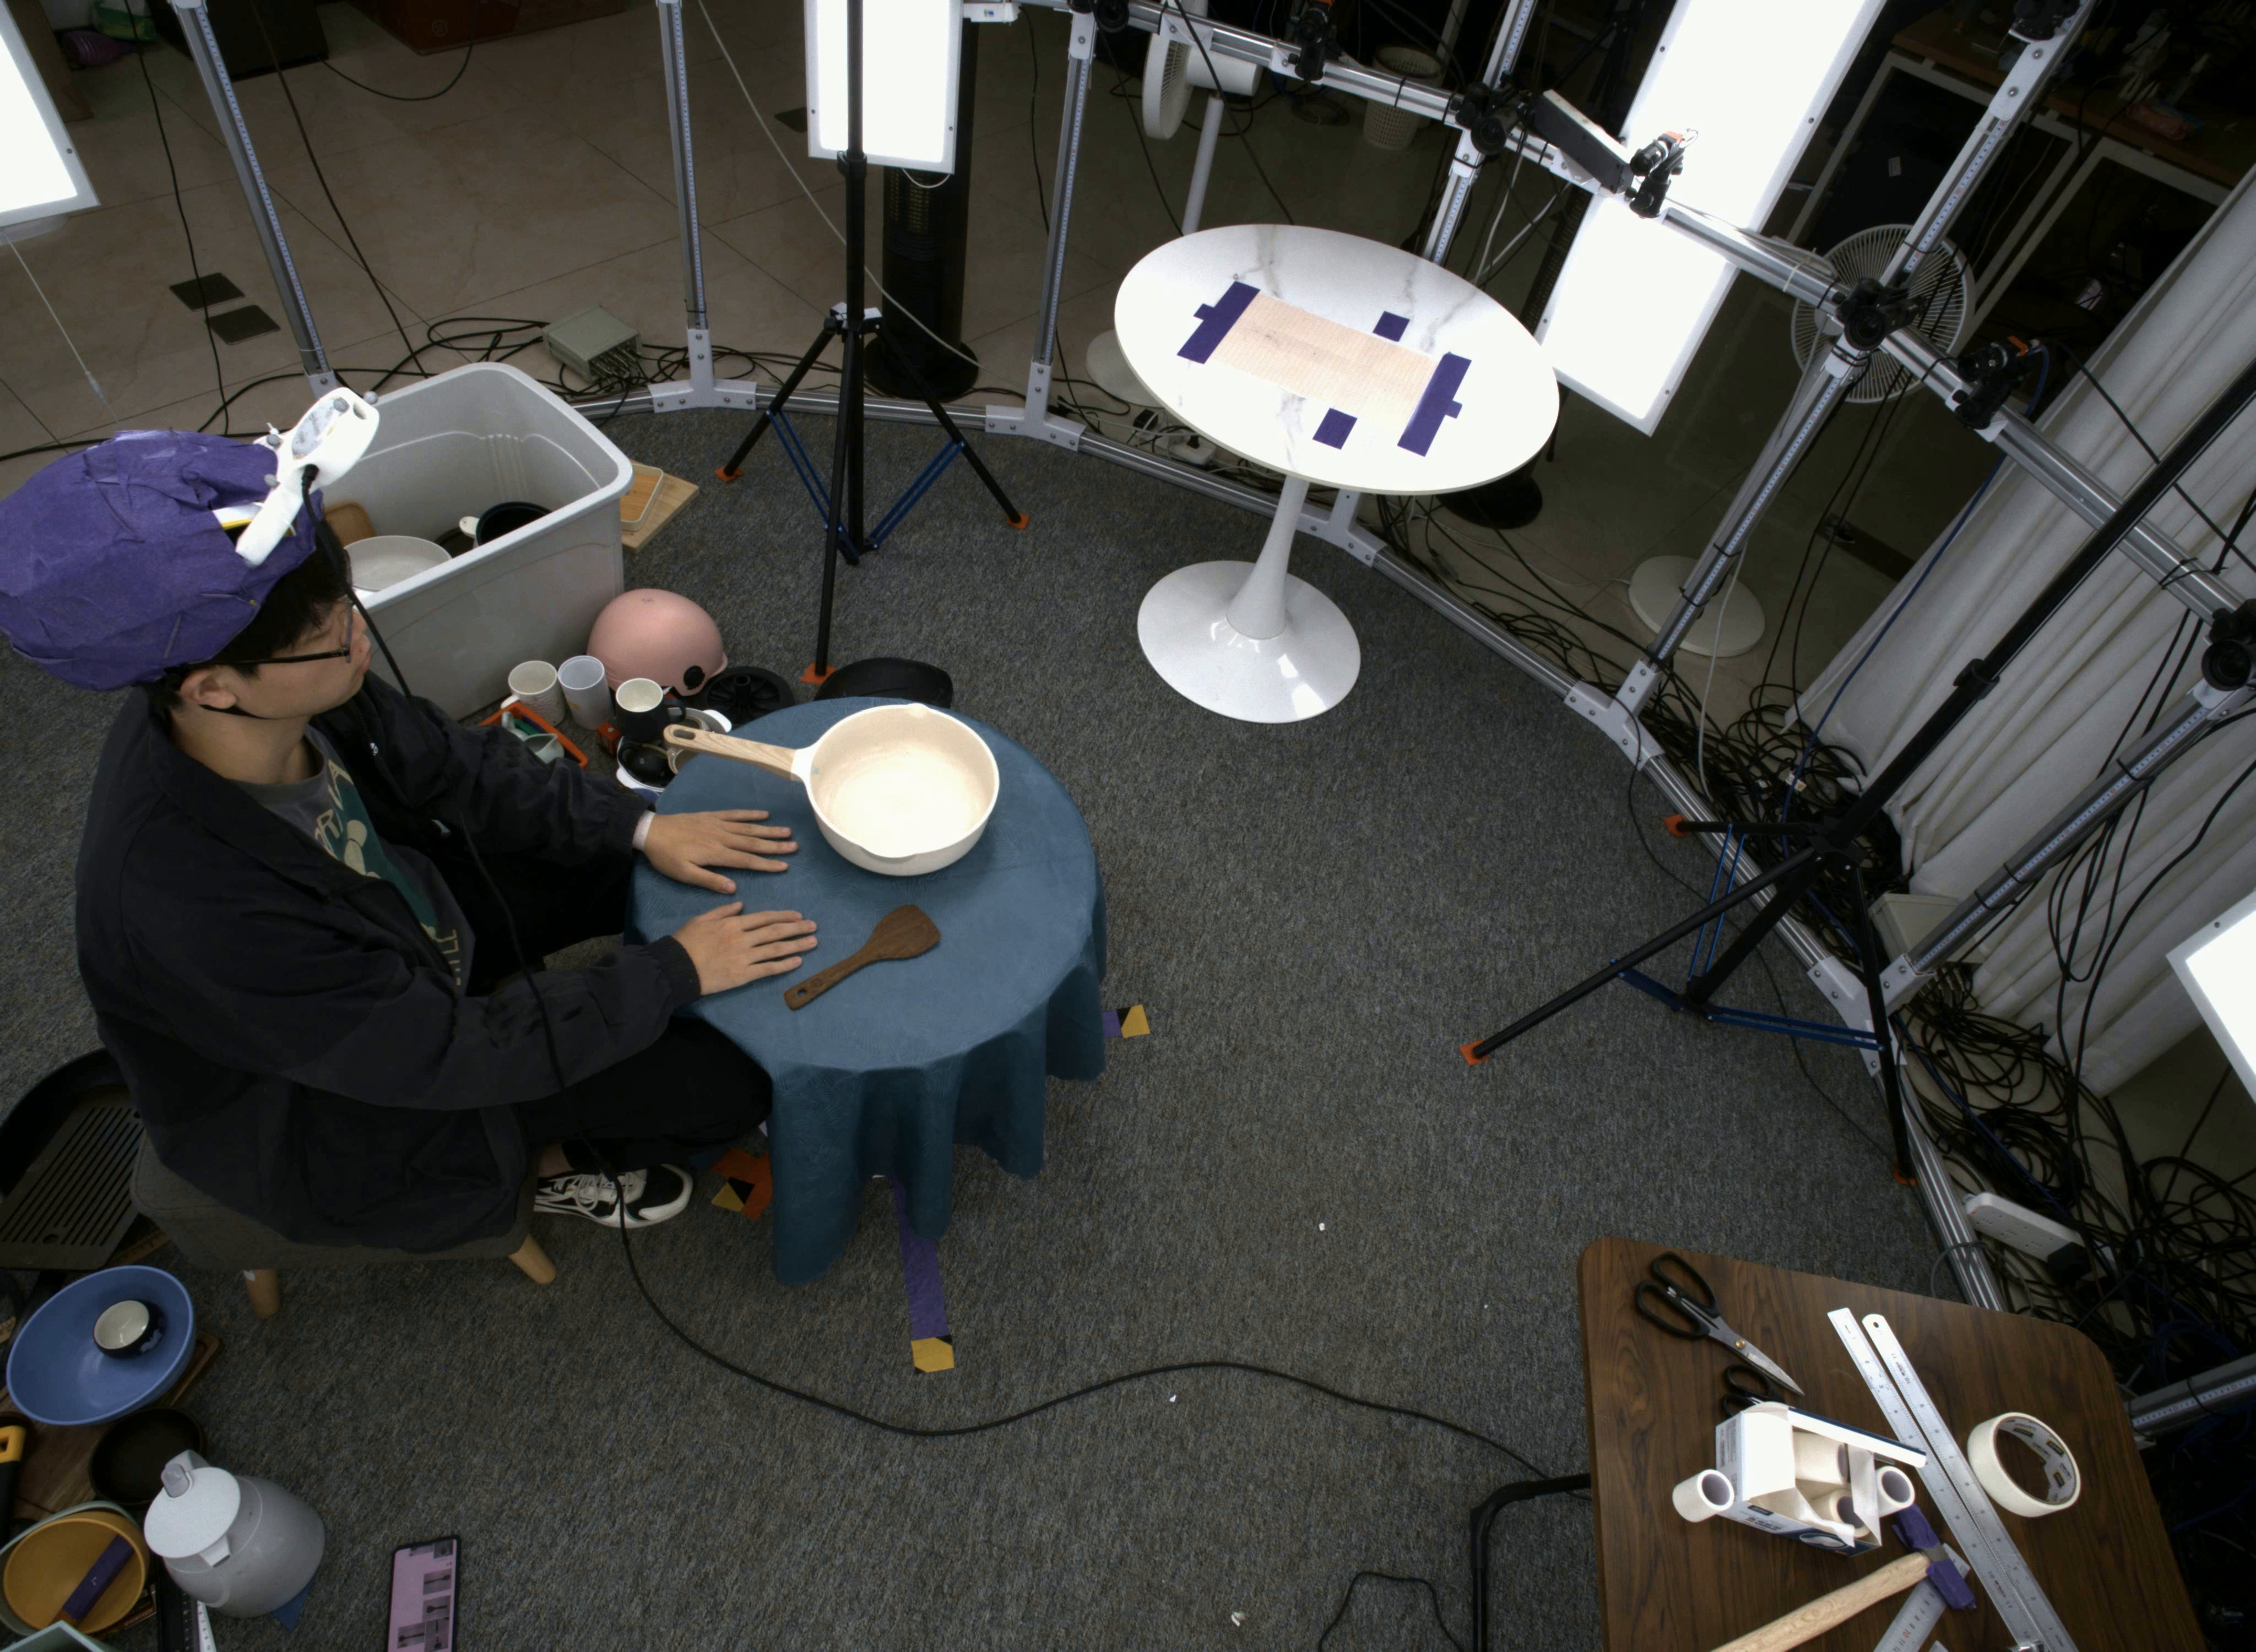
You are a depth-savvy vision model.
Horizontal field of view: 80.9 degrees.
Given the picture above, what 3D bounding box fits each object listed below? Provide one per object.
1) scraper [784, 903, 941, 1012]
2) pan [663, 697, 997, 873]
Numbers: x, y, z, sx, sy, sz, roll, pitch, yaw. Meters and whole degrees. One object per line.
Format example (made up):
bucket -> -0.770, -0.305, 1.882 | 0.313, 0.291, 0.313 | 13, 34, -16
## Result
scraper -> -0.334, 0.167, 1.619 | 0.212, 0.011, 0.074 | -32, 65, -30
pan -> -0.391, -0.063, 1.717 | 0.433, 0.104, 0.259 | 7, 54, -8
